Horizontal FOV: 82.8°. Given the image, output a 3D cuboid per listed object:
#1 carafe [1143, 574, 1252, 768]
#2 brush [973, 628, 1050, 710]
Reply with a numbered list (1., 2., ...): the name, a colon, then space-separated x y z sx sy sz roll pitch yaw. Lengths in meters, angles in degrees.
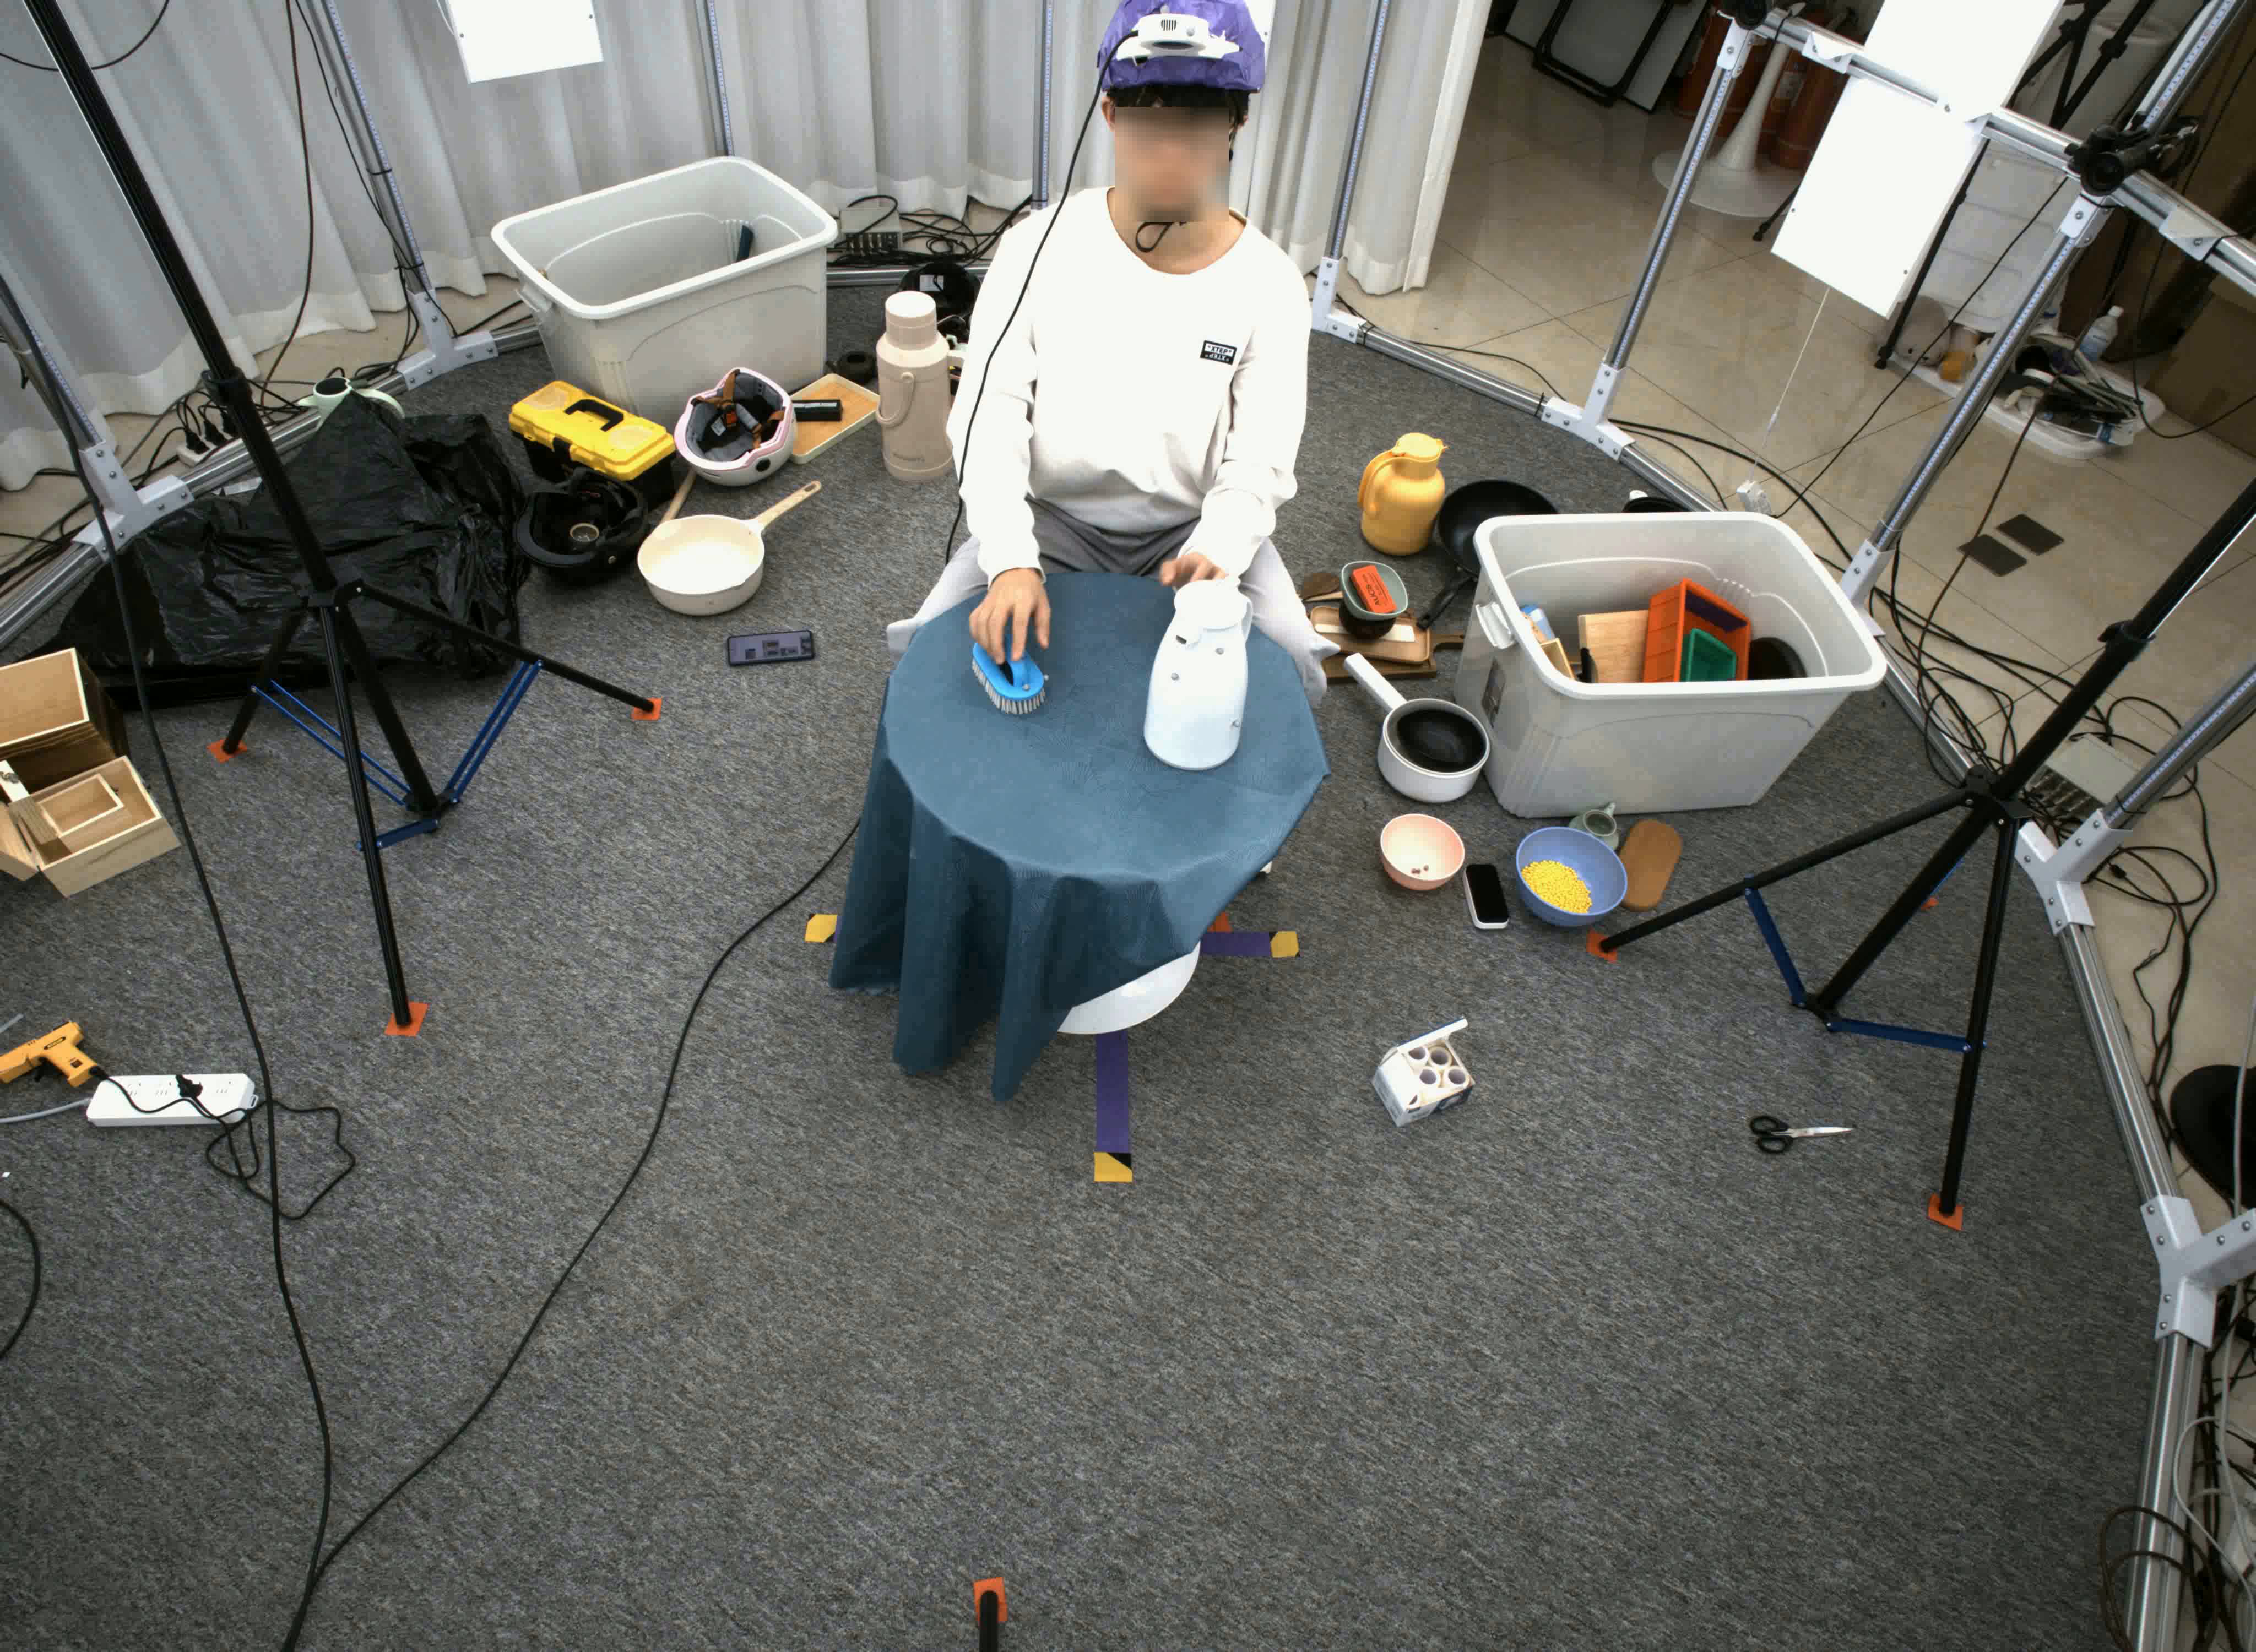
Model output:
1. carafe: 0.105 -0.218 1.700 0.134 0.242 0.170 30 53 20
2. brush: -0.167 -0.231 1.809 0.084 0.062 0.145 -21 54 -15
